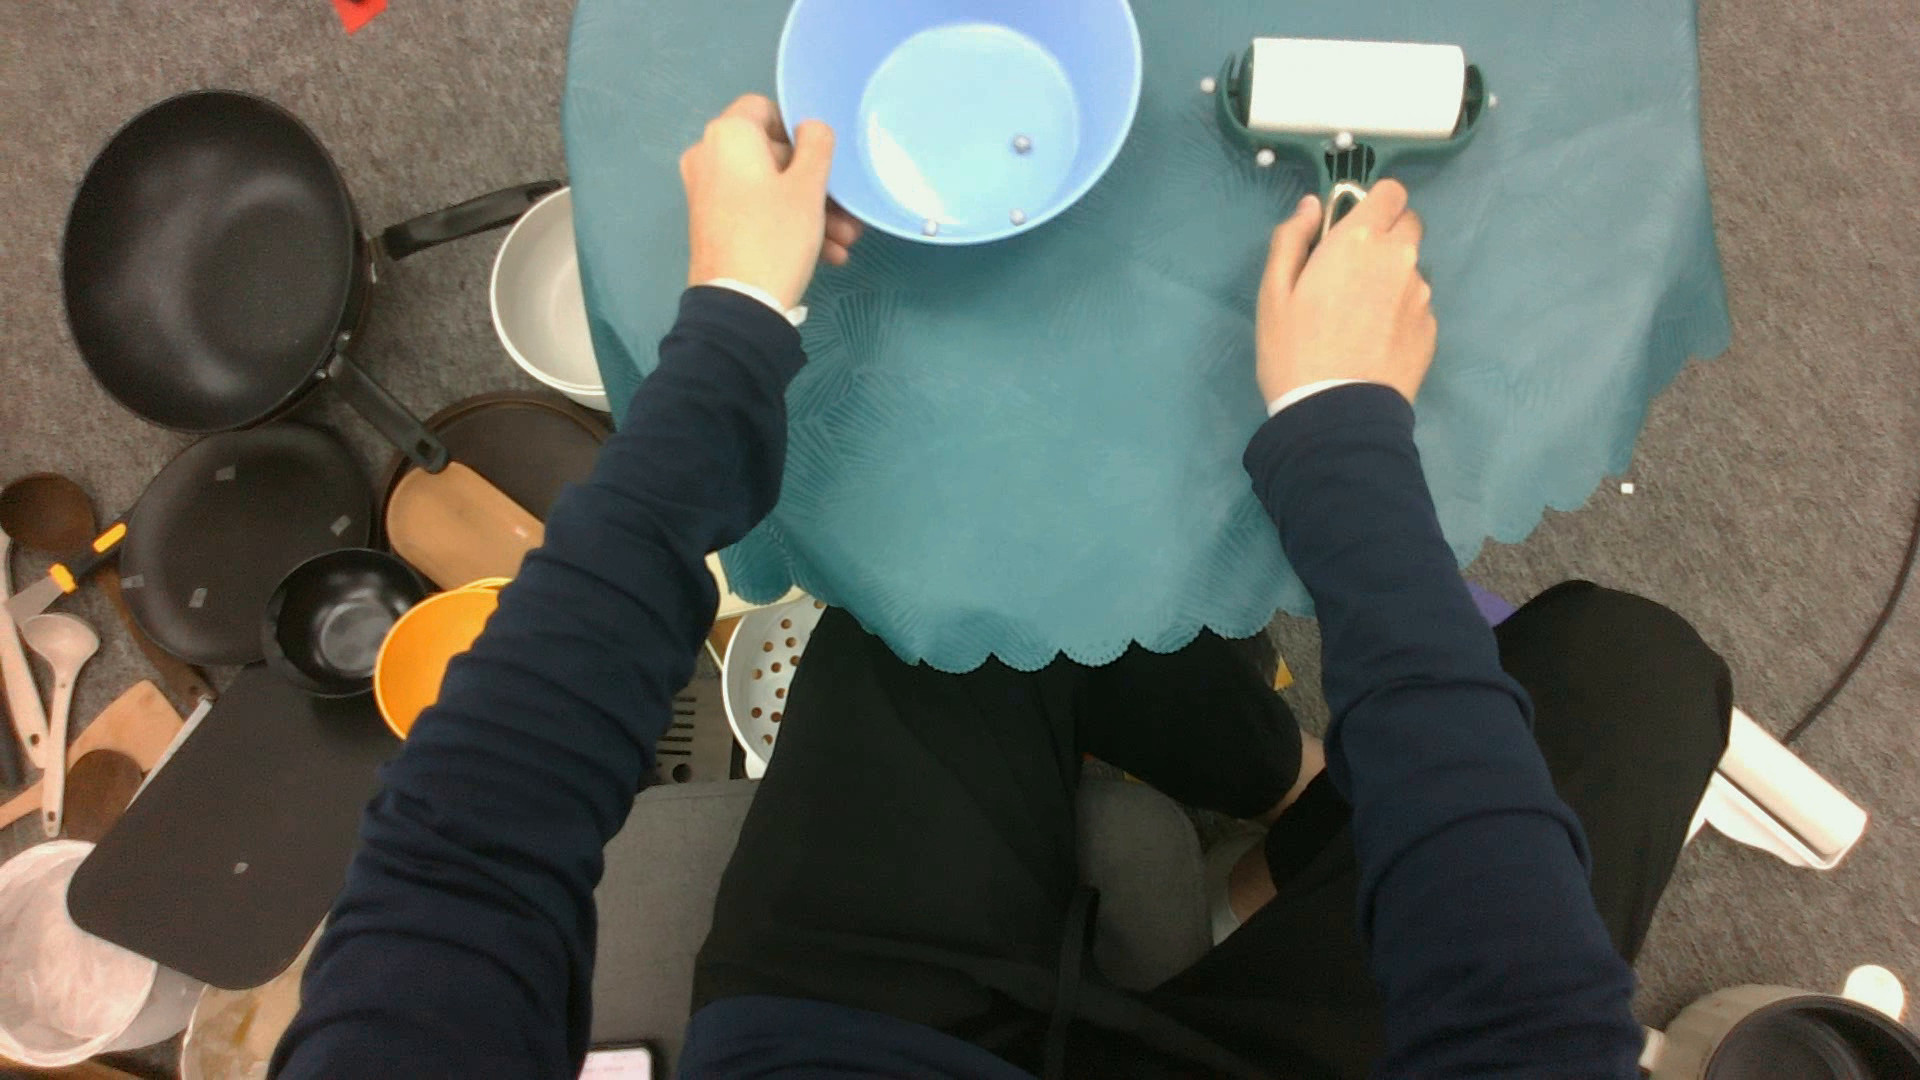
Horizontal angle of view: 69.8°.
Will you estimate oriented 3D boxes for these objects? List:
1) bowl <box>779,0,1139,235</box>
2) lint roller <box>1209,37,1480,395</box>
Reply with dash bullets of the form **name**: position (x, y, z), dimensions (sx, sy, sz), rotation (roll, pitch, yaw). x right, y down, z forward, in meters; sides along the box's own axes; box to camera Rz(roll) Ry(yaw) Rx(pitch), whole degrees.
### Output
- **bowl**: position (0.001, -0.226, 0.697), dimensions (0.176, 0.070, 0.176), rotation (-1, 79, 4)
- **lint roller**: position (0.187, -0.164, 0.680), dimensions (0.134, 0.048, 0.180), rotation (4, 75, 4)
